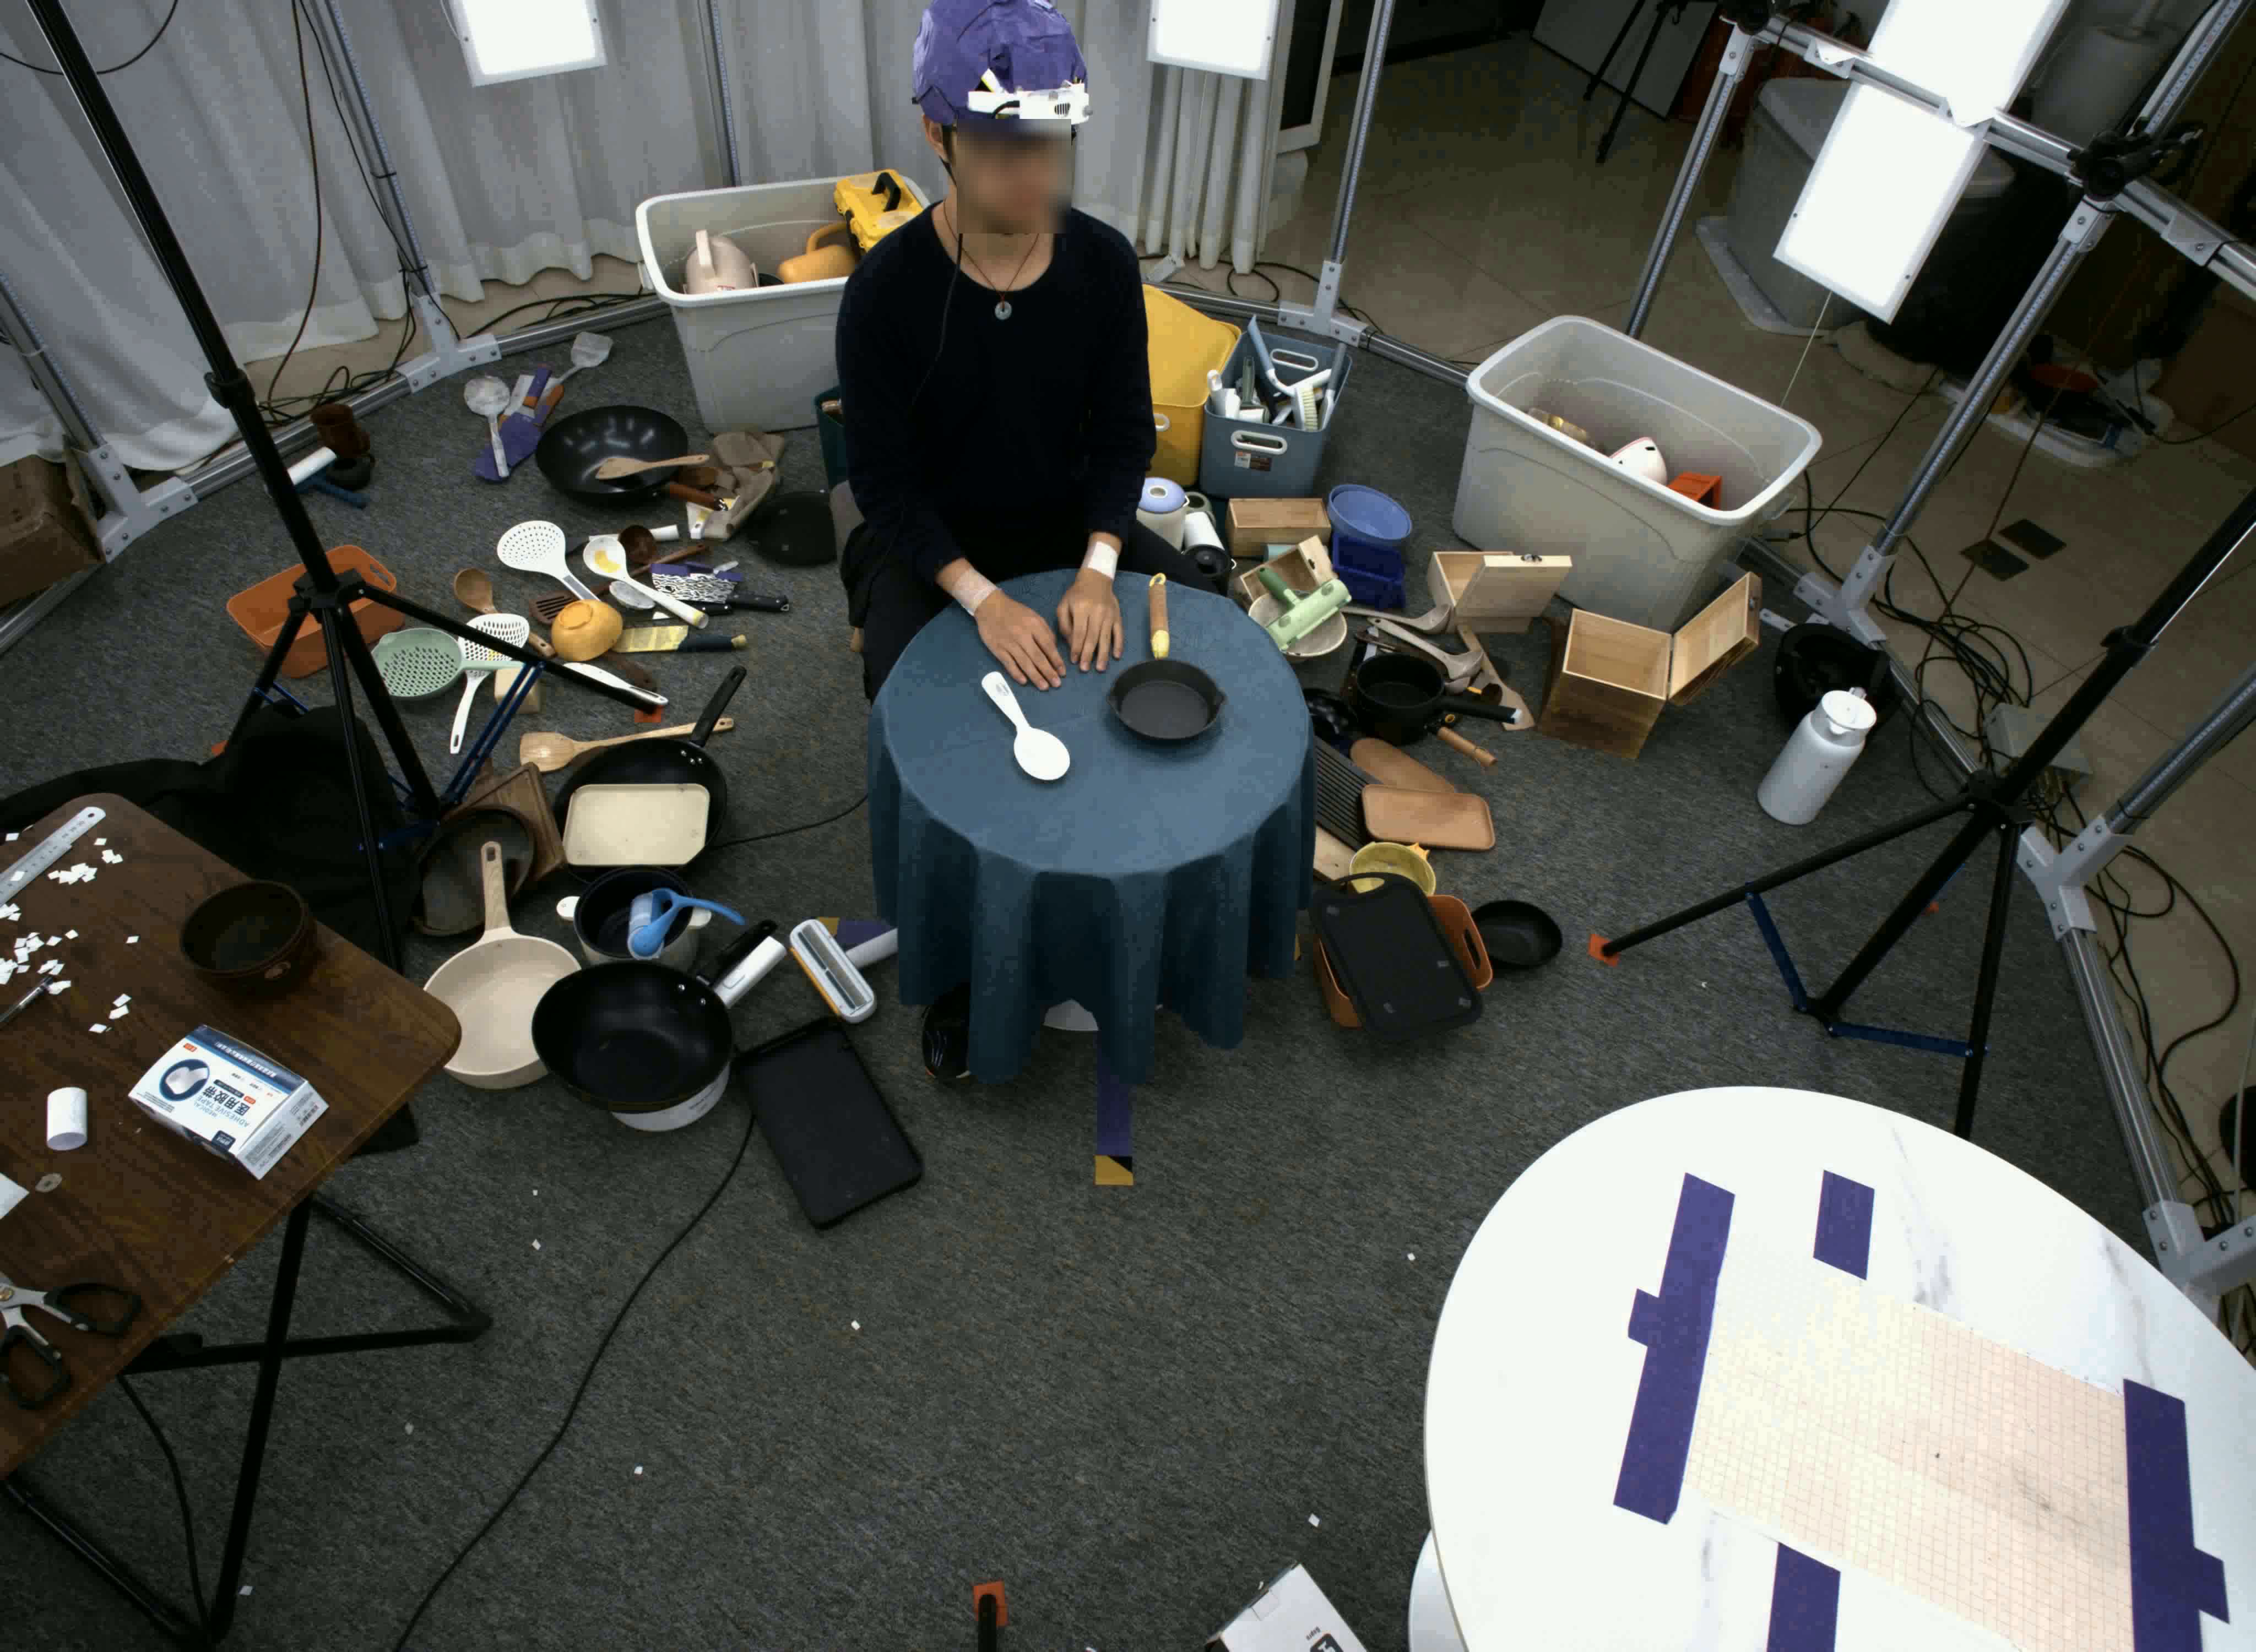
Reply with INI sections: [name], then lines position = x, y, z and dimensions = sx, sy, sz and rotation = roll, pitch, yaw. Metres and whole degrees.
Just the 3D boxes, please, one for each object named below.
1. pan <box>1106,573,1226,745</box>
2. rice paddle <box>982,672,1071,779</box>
[pan]
position = 0.051, -0.241, 1.849
dimensions = 0.169, 0.048, 0.332
rotation = 1, 50, -3
[rice paddle]
position = -0.143, -0.137, 1.760
dimensions = 0.069, 0.029, 0.209
rotation = -22, 53, -19
